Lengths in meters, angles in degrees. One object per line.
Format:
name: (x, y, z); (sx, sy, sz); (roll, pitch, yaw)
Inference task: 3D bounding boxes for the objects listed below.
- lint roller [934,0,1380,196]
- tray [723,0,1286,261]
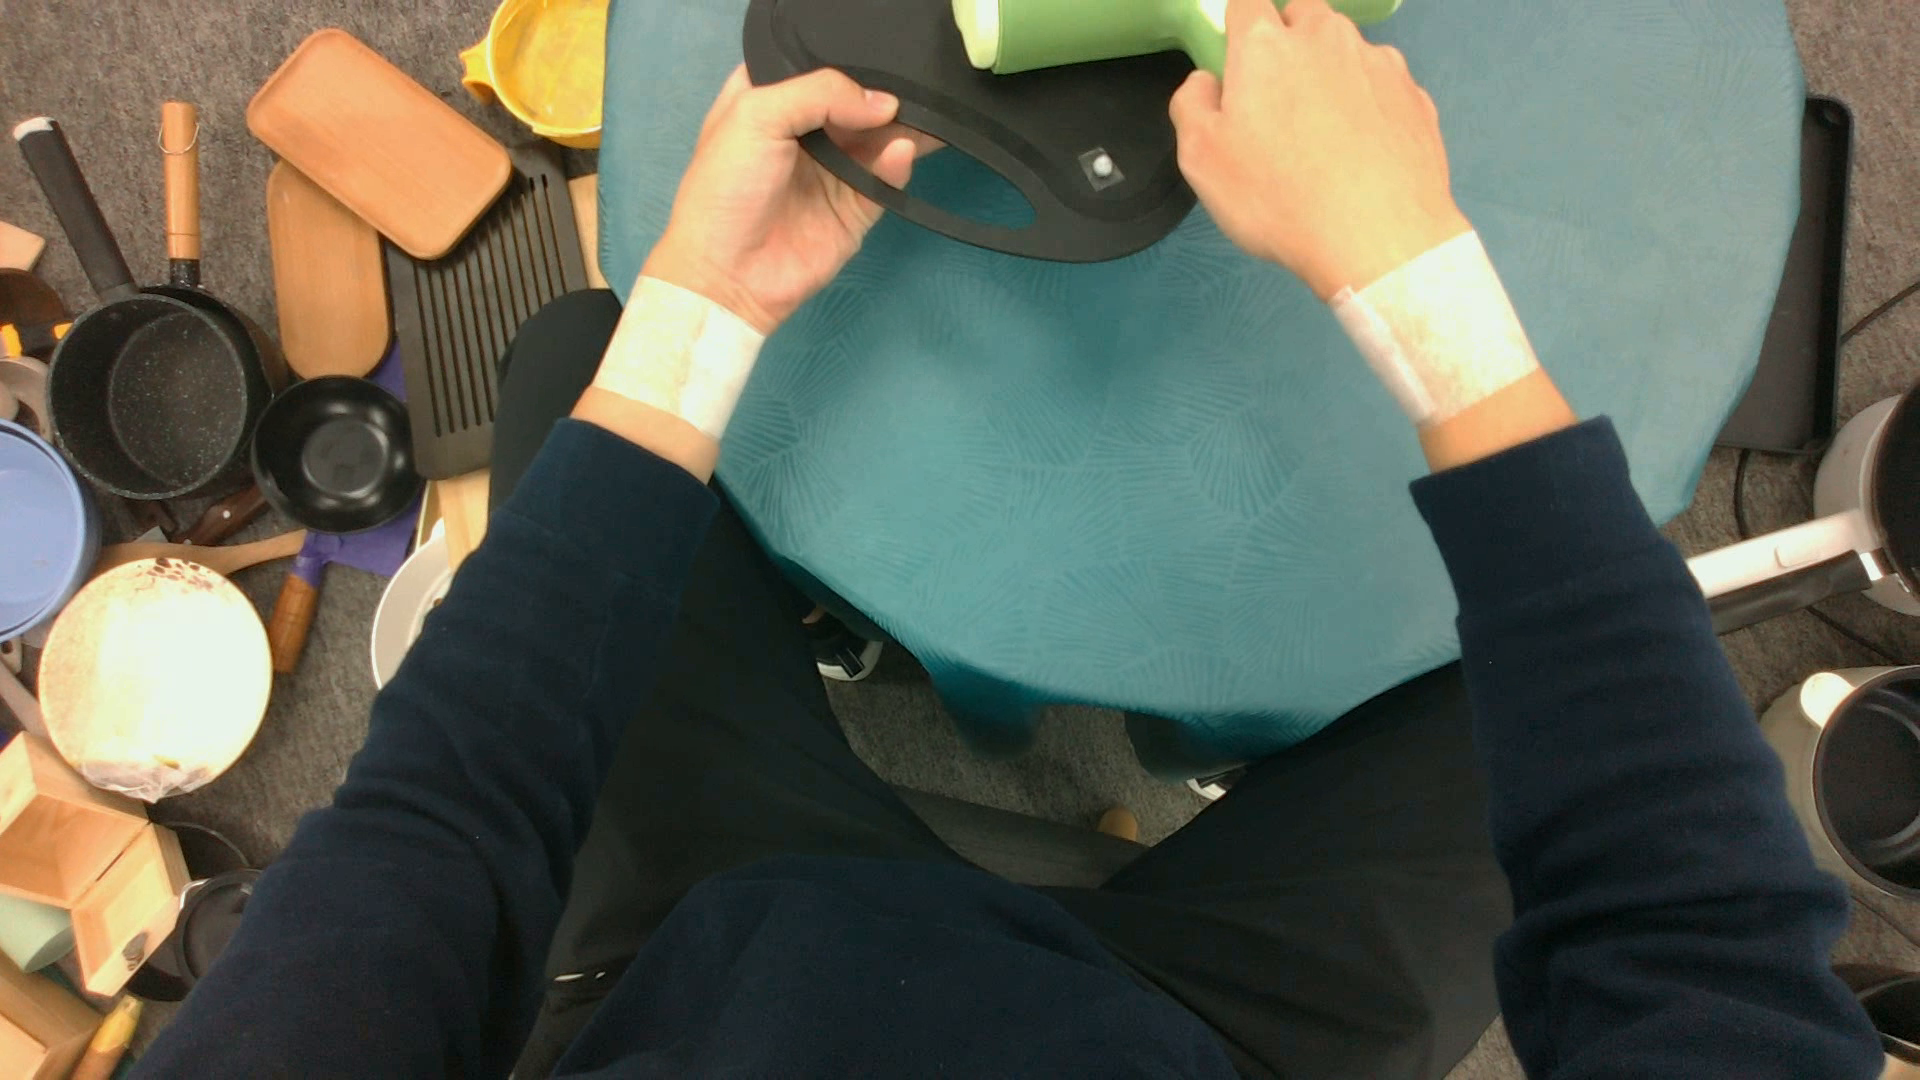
lint roller: (0.101, -0.213, 0.541); (0.199, 0.082, 0.184); (-12, 45, -10)
tray: (0.042, -0.269, 0.617); (0.211, 0.010, 0.326); (28, 70, 3)
